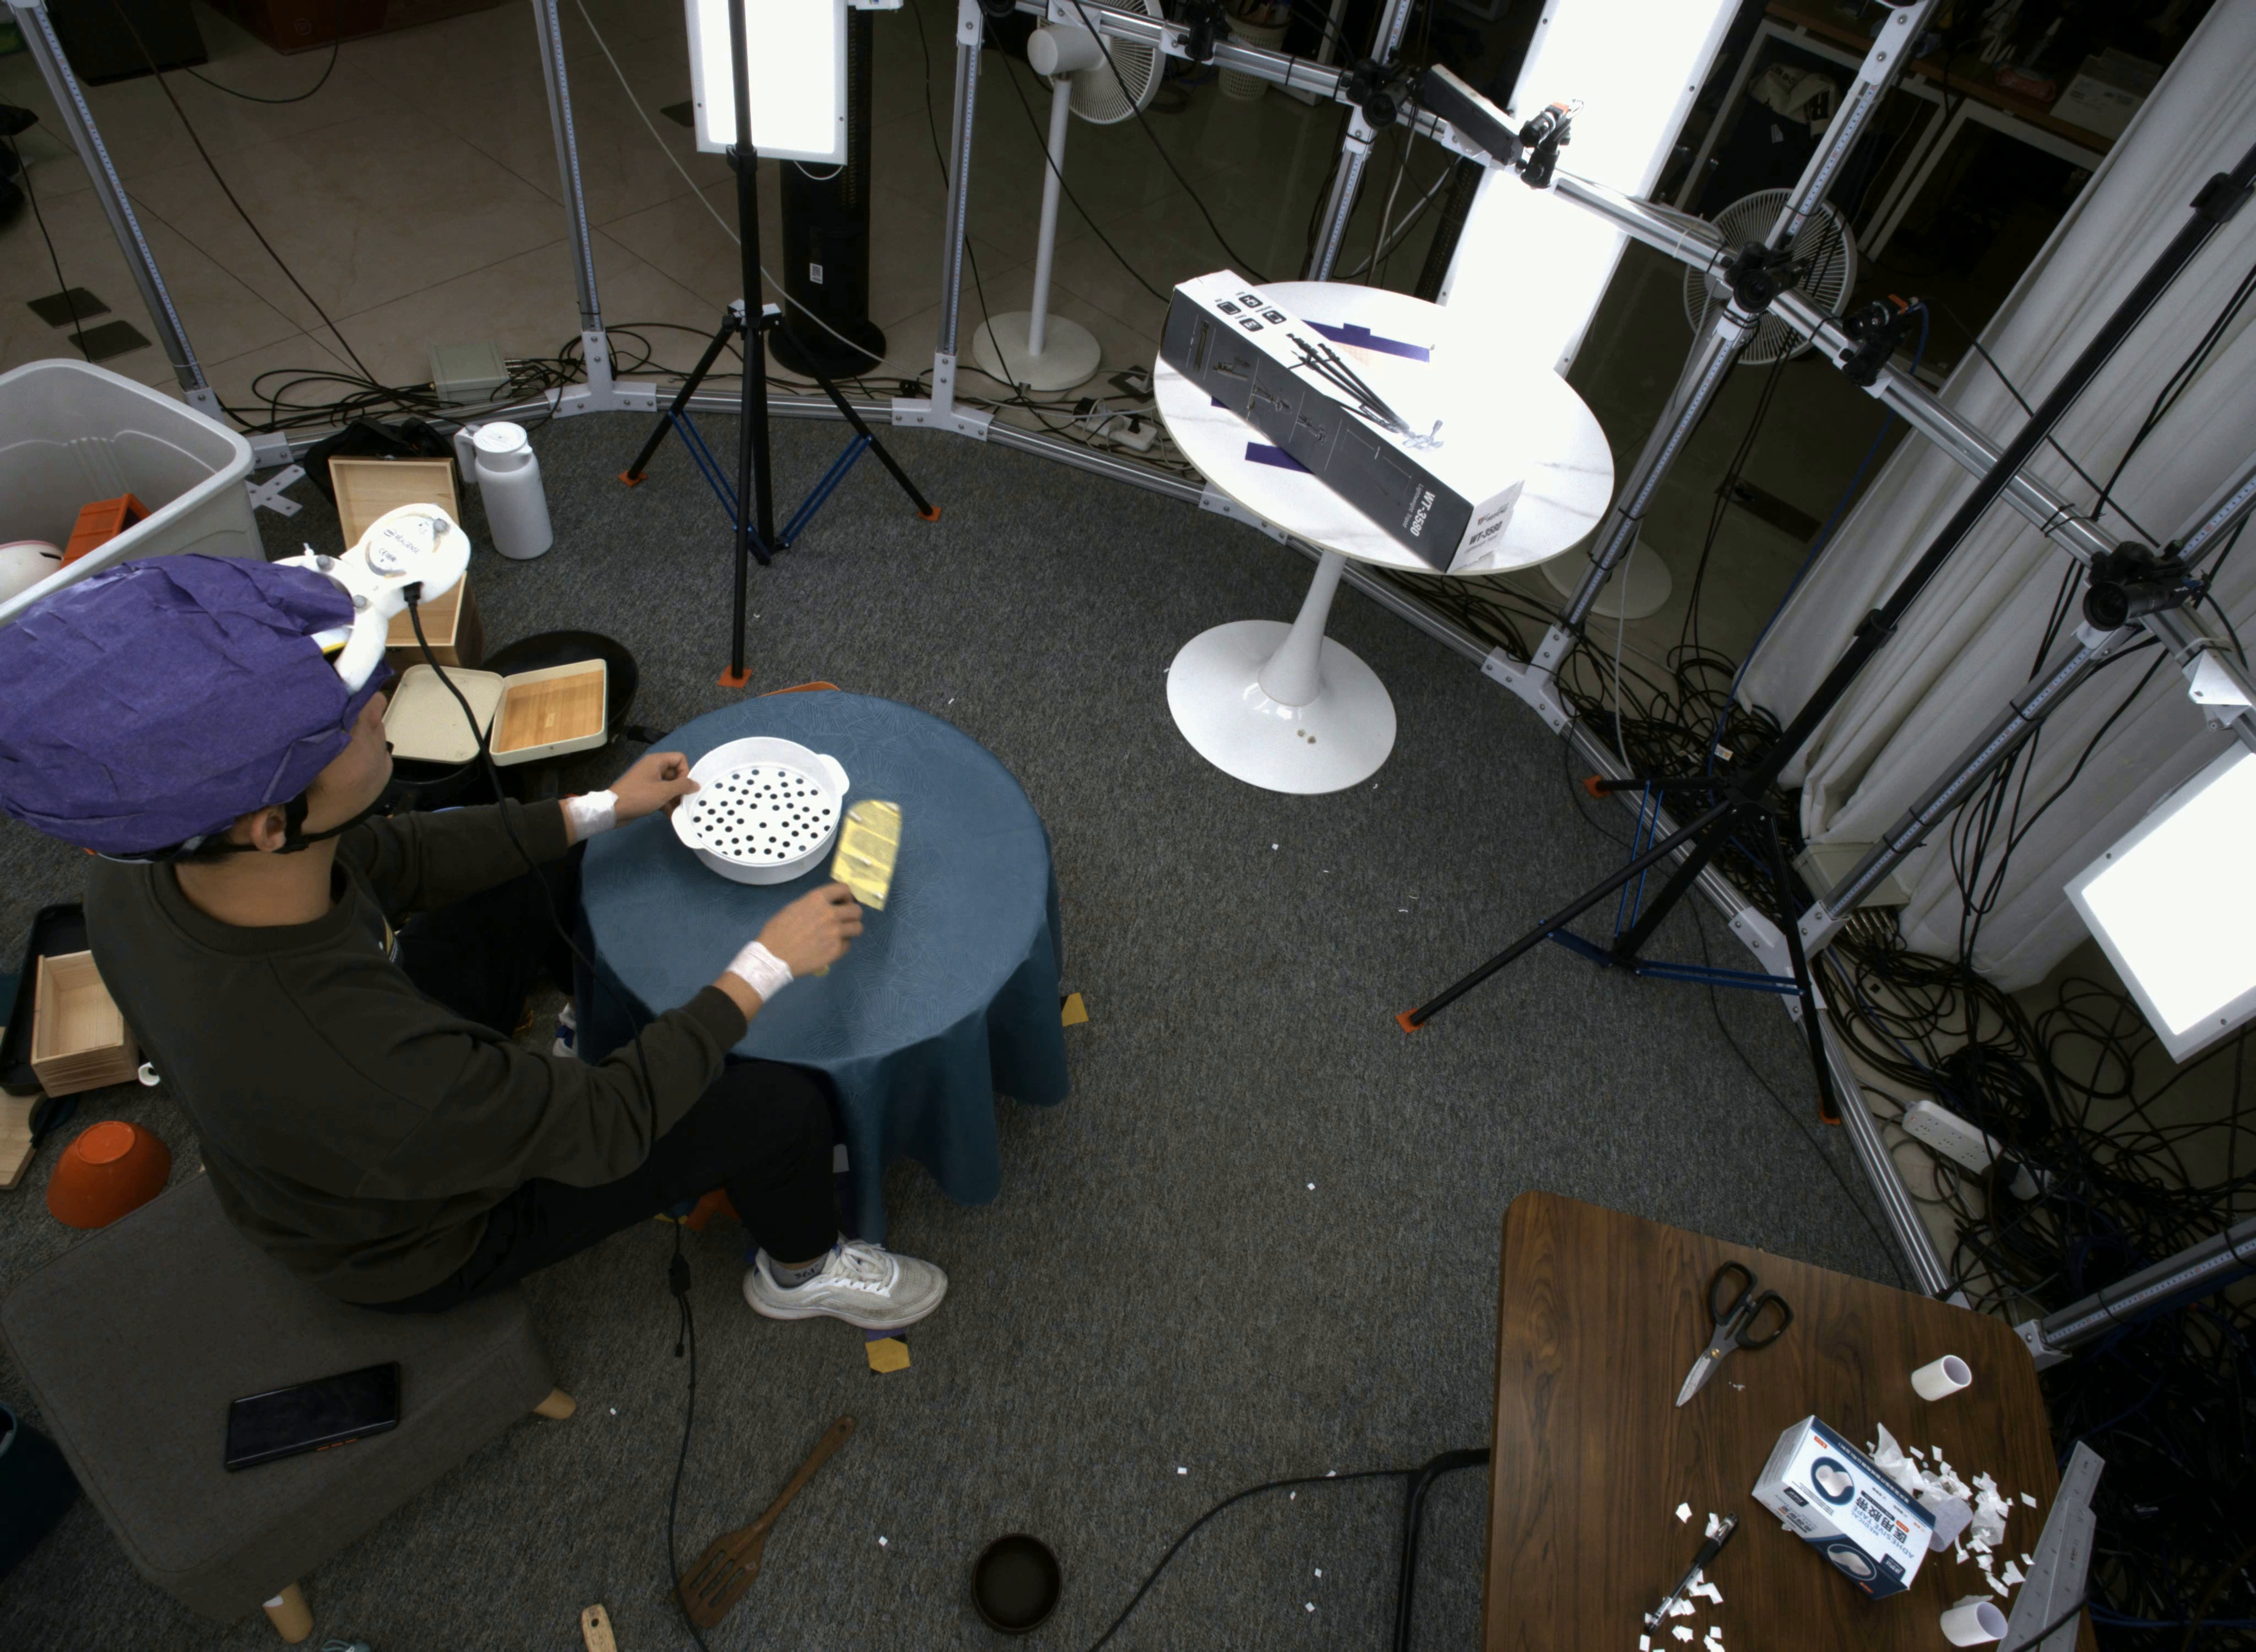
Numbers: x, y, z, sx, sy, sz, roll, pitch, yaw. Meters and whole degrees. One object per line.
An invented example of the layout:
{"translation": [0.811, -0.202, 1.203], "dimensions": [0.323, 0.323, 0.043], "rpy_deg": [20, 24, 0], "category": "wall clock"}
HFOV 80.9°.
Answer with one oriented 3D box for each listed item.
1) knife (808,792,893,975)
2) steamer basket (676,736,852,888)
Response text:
{"translation": [-0.336, 0.063, 1.583], "dimensions": [0.082, 0.027, 0.285], "rpy_deg": [28, 45, -22], "category": "knife"}
{"translation": [-0.471, -0.019, 1.689], "dimensions": [0.231, 0.070, 0.198], "rpy_deg": [-24, 68, -25], "category": "steamer basket"}
